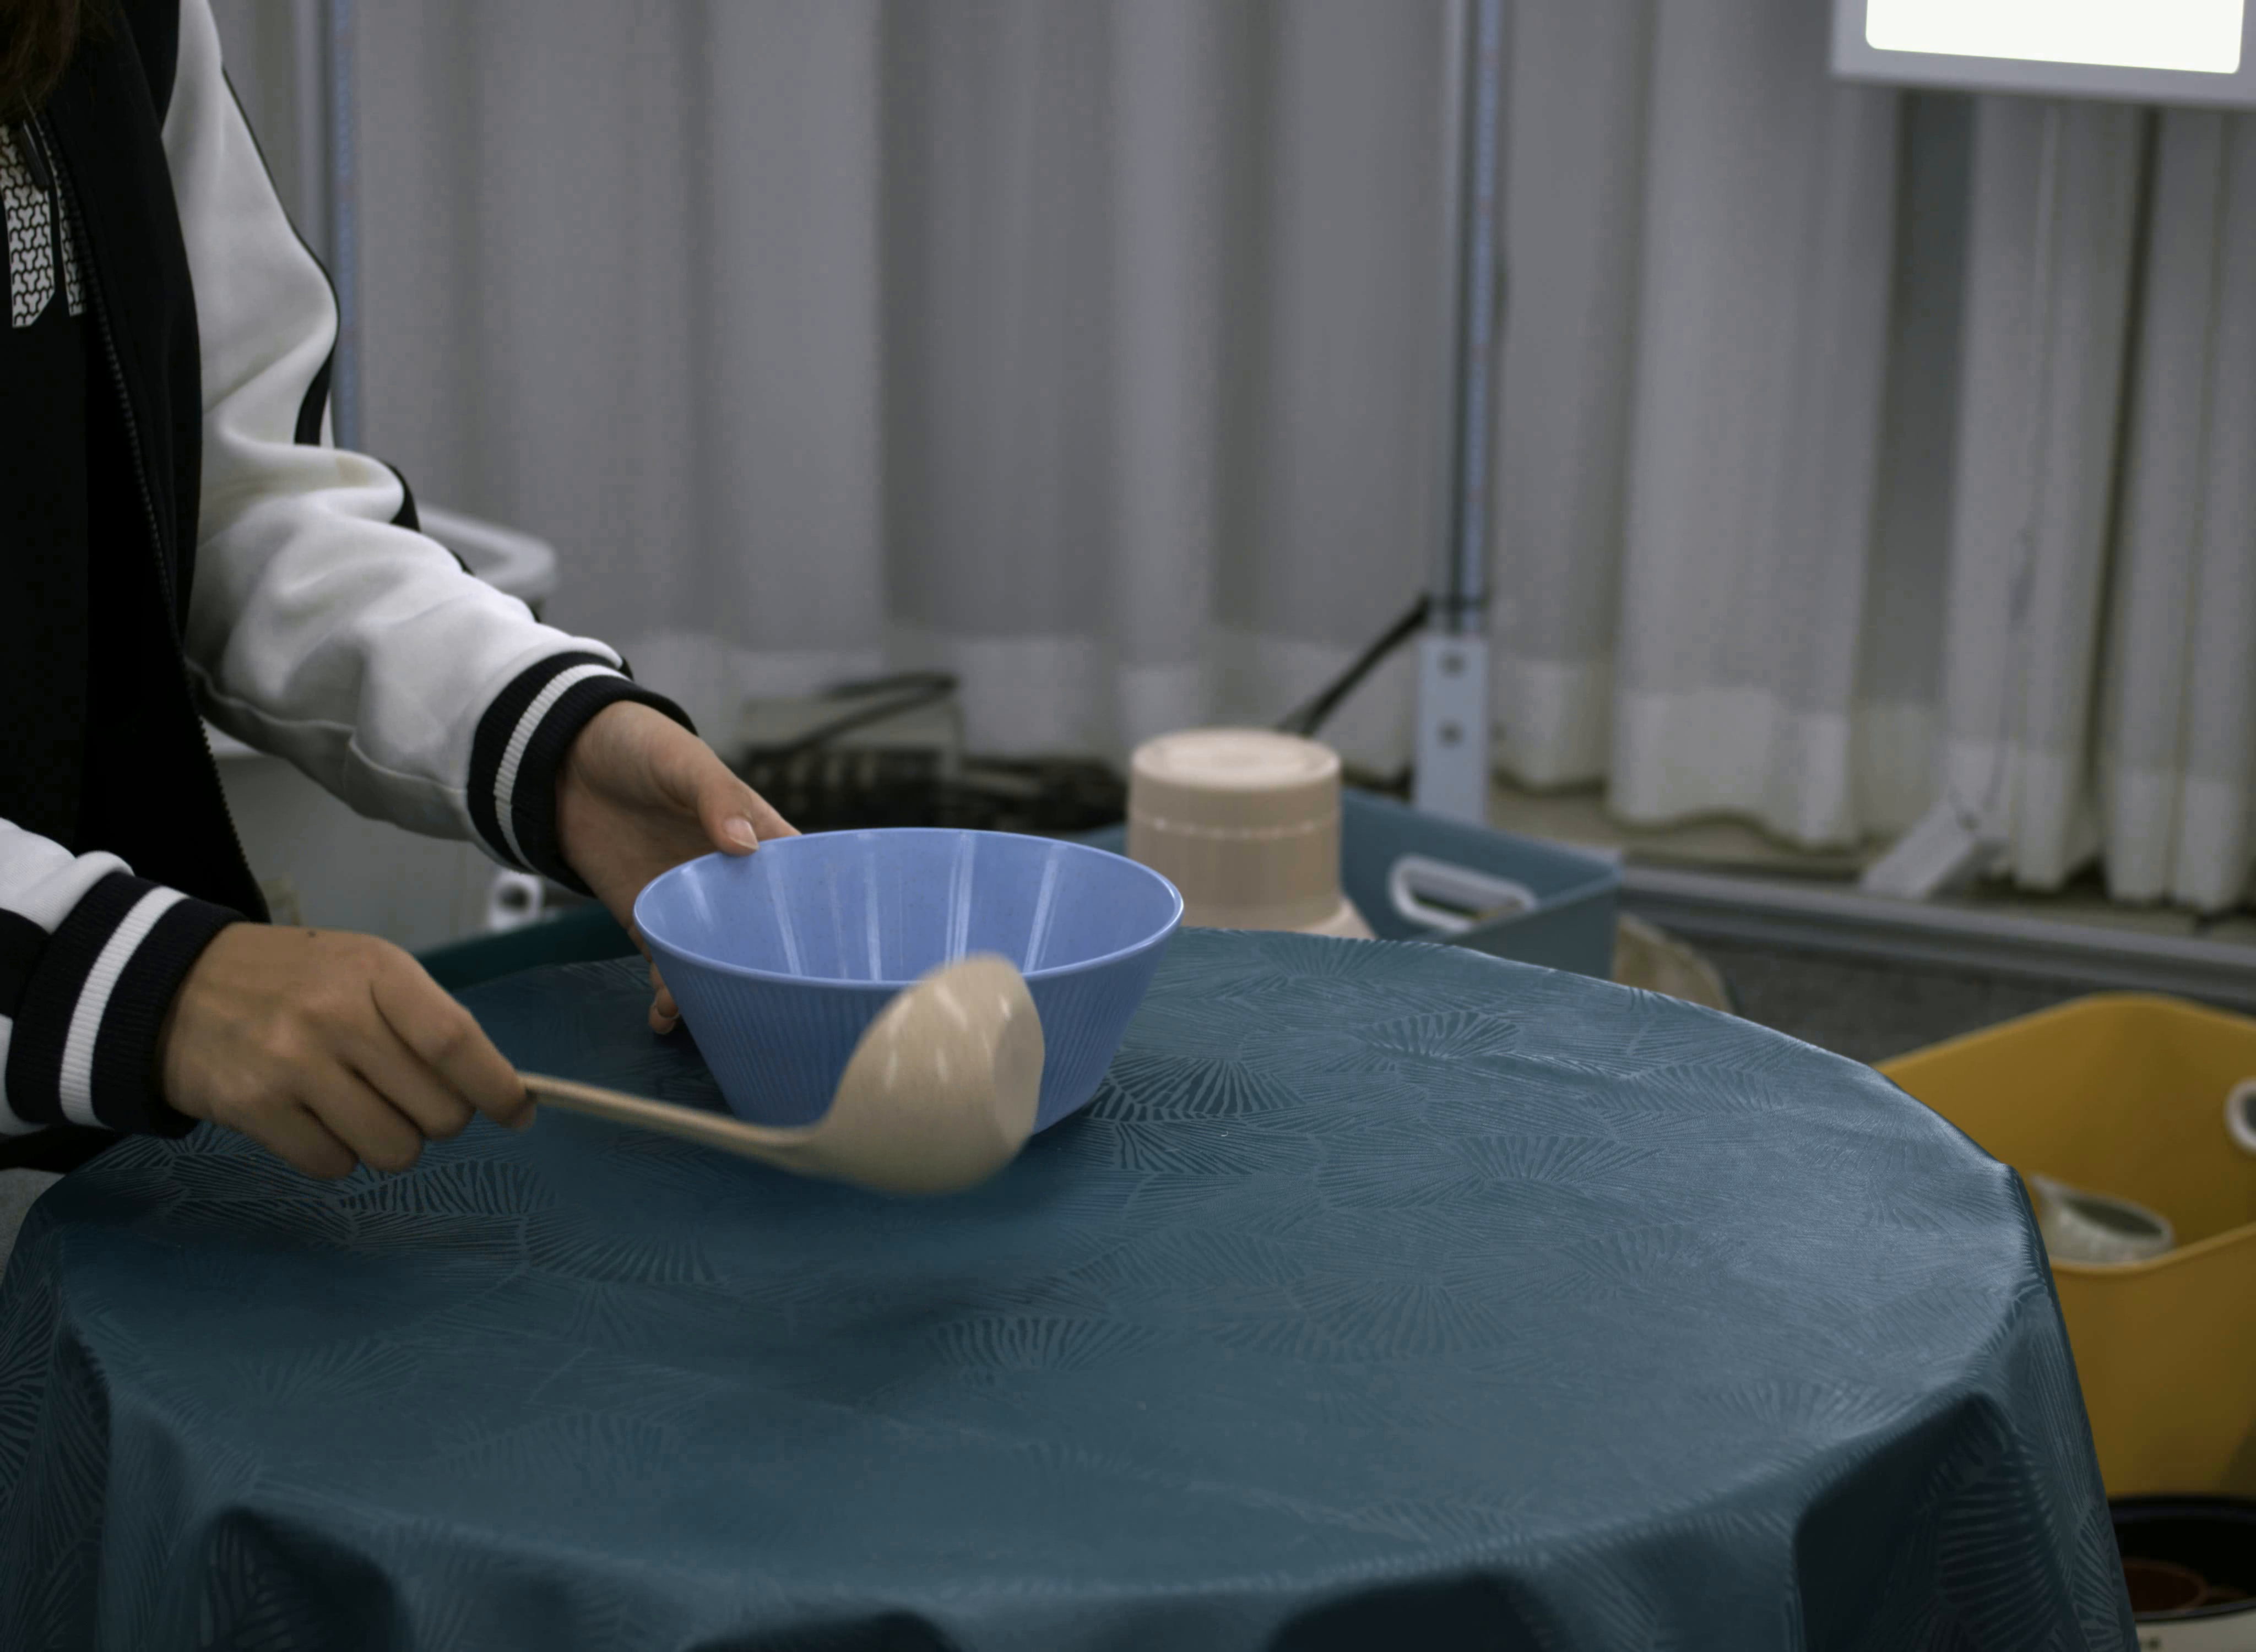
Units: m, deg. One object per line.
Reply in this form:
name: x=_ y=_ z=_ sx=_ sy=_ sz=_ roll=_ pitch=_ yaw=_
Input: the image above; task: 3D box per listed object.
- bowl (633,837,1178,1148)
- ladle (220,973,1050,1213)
bowl: x=-0.071 y=0.056 z=1.691 sx=0.175 sy=0.071 sz=0.175 roll=1 pitch=15 yaw=0
ladle: x=-0.144 y=0.061 z=1.544 sx=0.252 sy=0.073 sz=0.072 roll=10 pitch=63 yaw=21
